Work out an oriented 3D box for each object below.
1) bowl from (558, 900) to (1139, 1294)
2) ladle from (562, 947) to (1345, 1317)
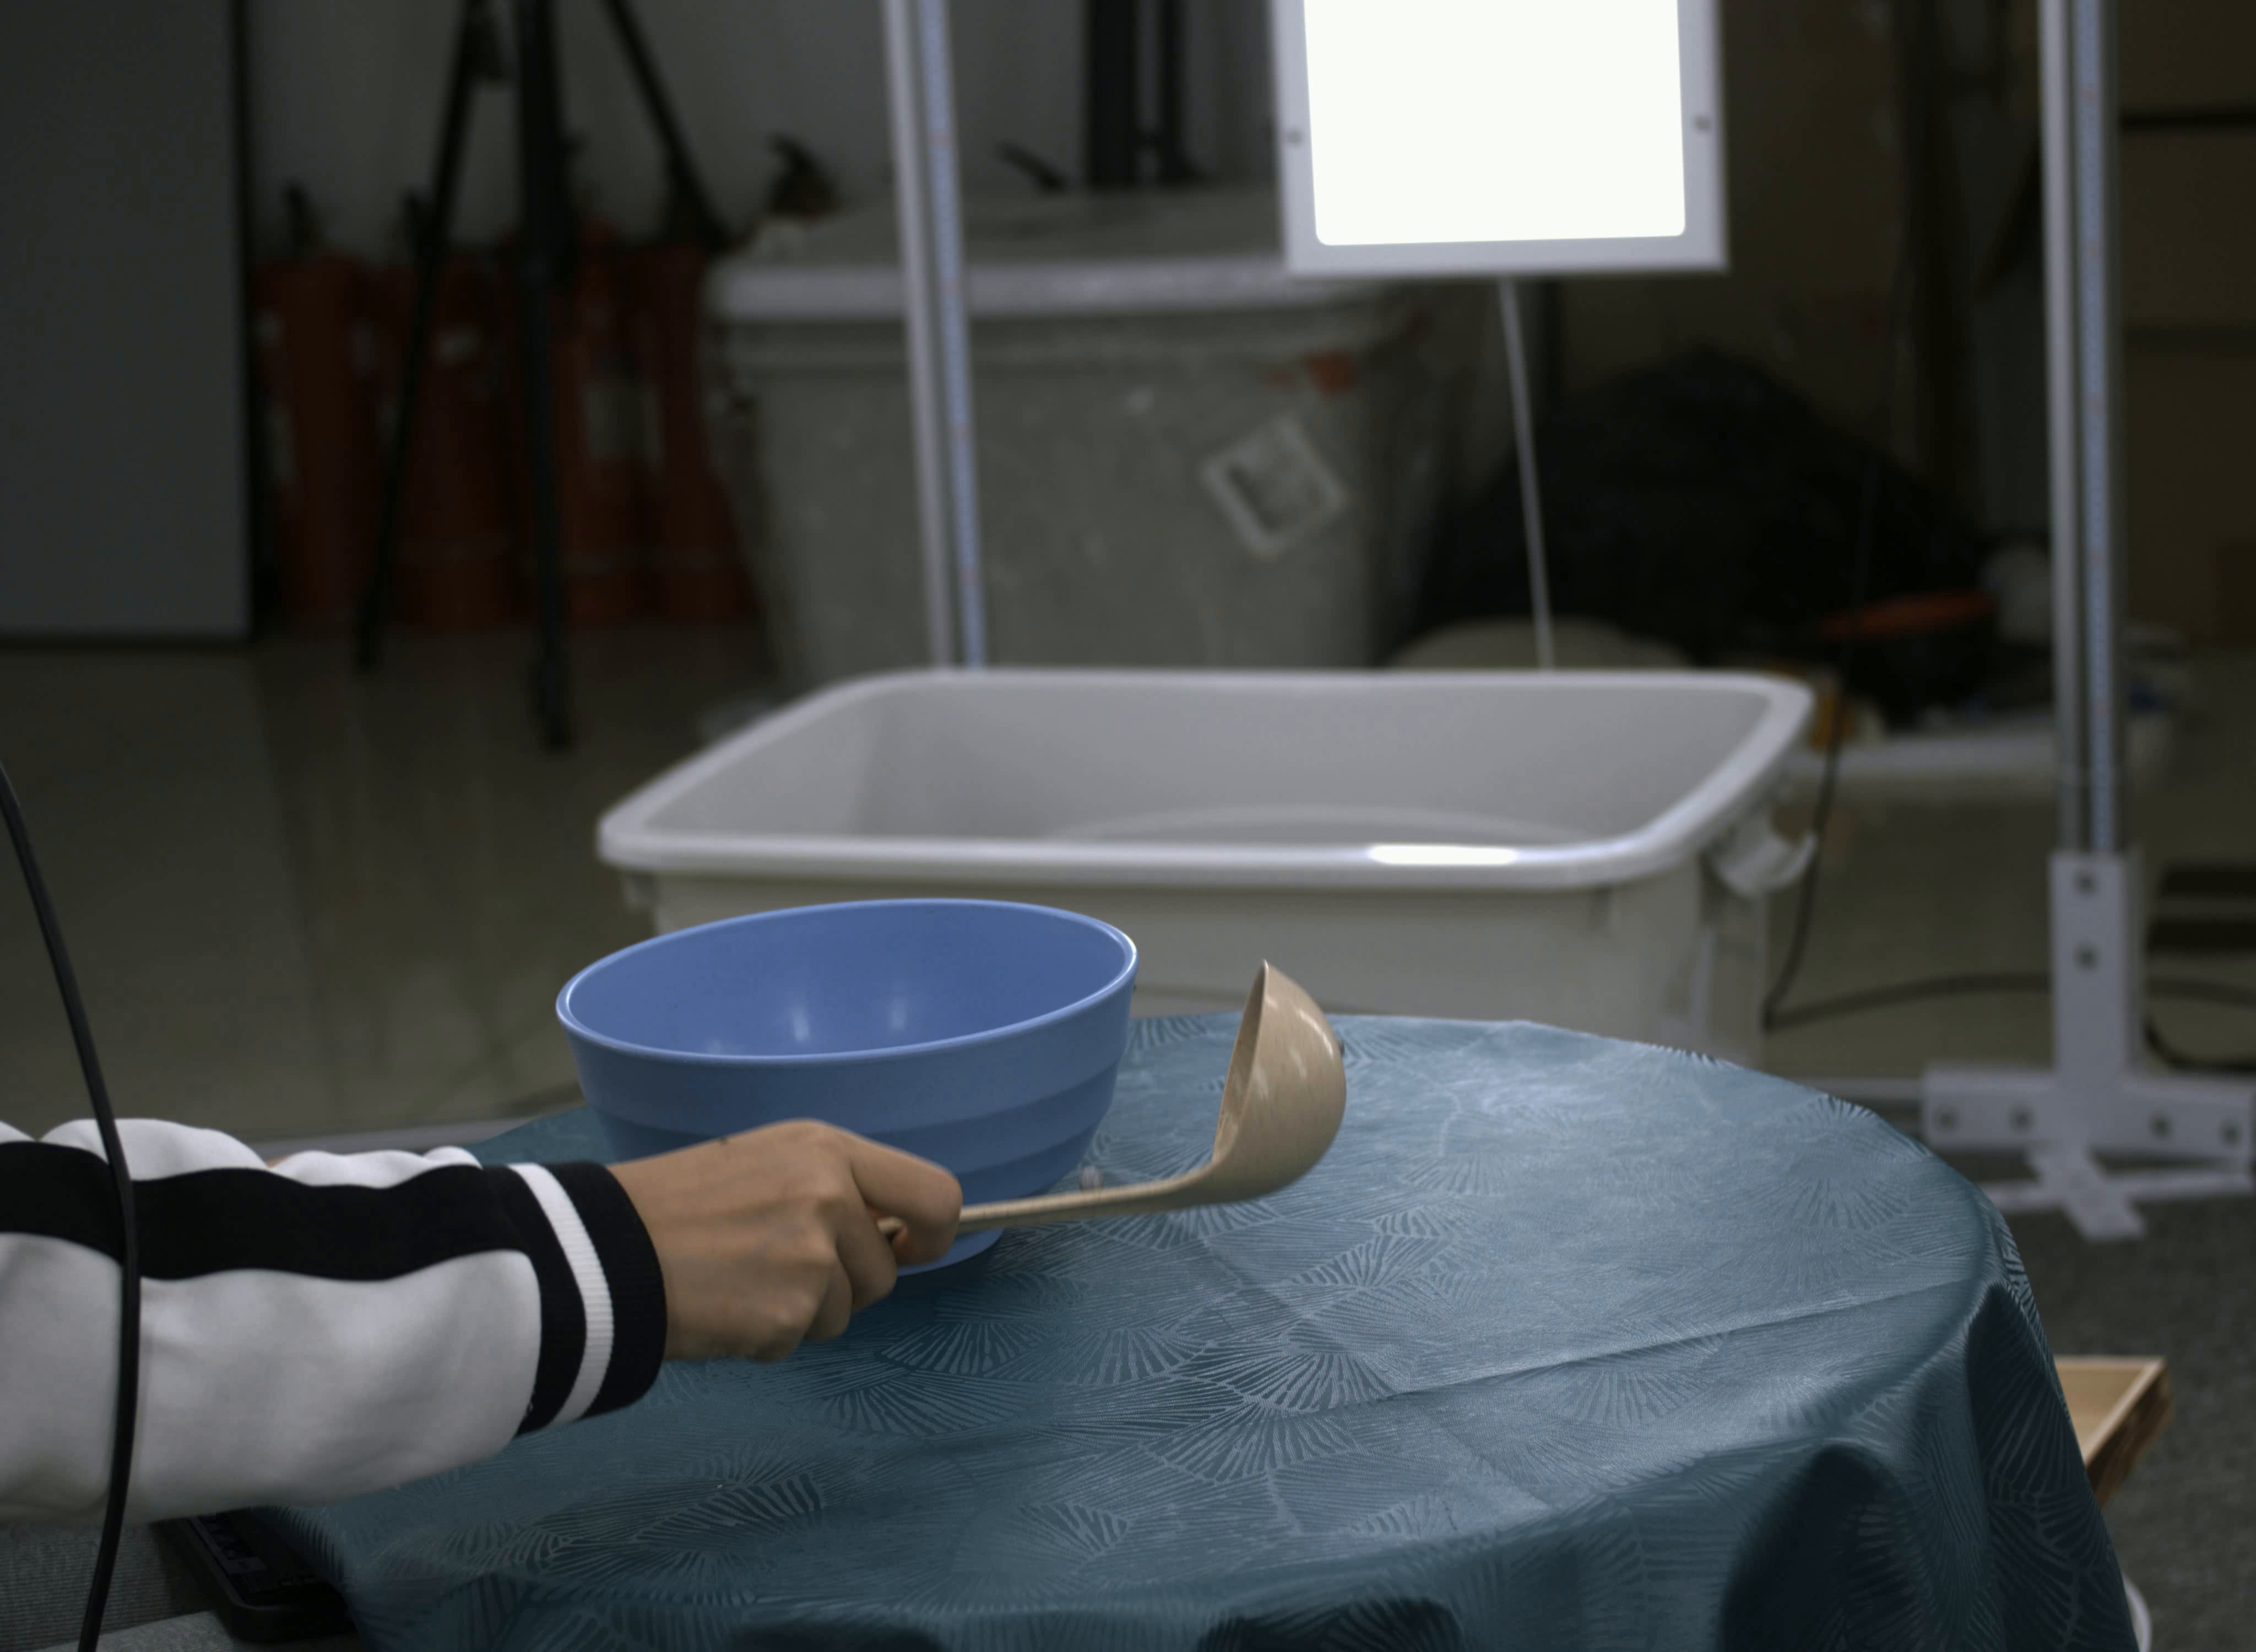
[{"bbox_3d":[-0.091,0.098,1.863,0.196,0.096,0.196,-5,15,0],"label":"bowl"},{"bbox_3d":[-0.057,0.092,1.671,0.250,0.073,0.073,-10,-27,-15],"label":"ladle"}]
